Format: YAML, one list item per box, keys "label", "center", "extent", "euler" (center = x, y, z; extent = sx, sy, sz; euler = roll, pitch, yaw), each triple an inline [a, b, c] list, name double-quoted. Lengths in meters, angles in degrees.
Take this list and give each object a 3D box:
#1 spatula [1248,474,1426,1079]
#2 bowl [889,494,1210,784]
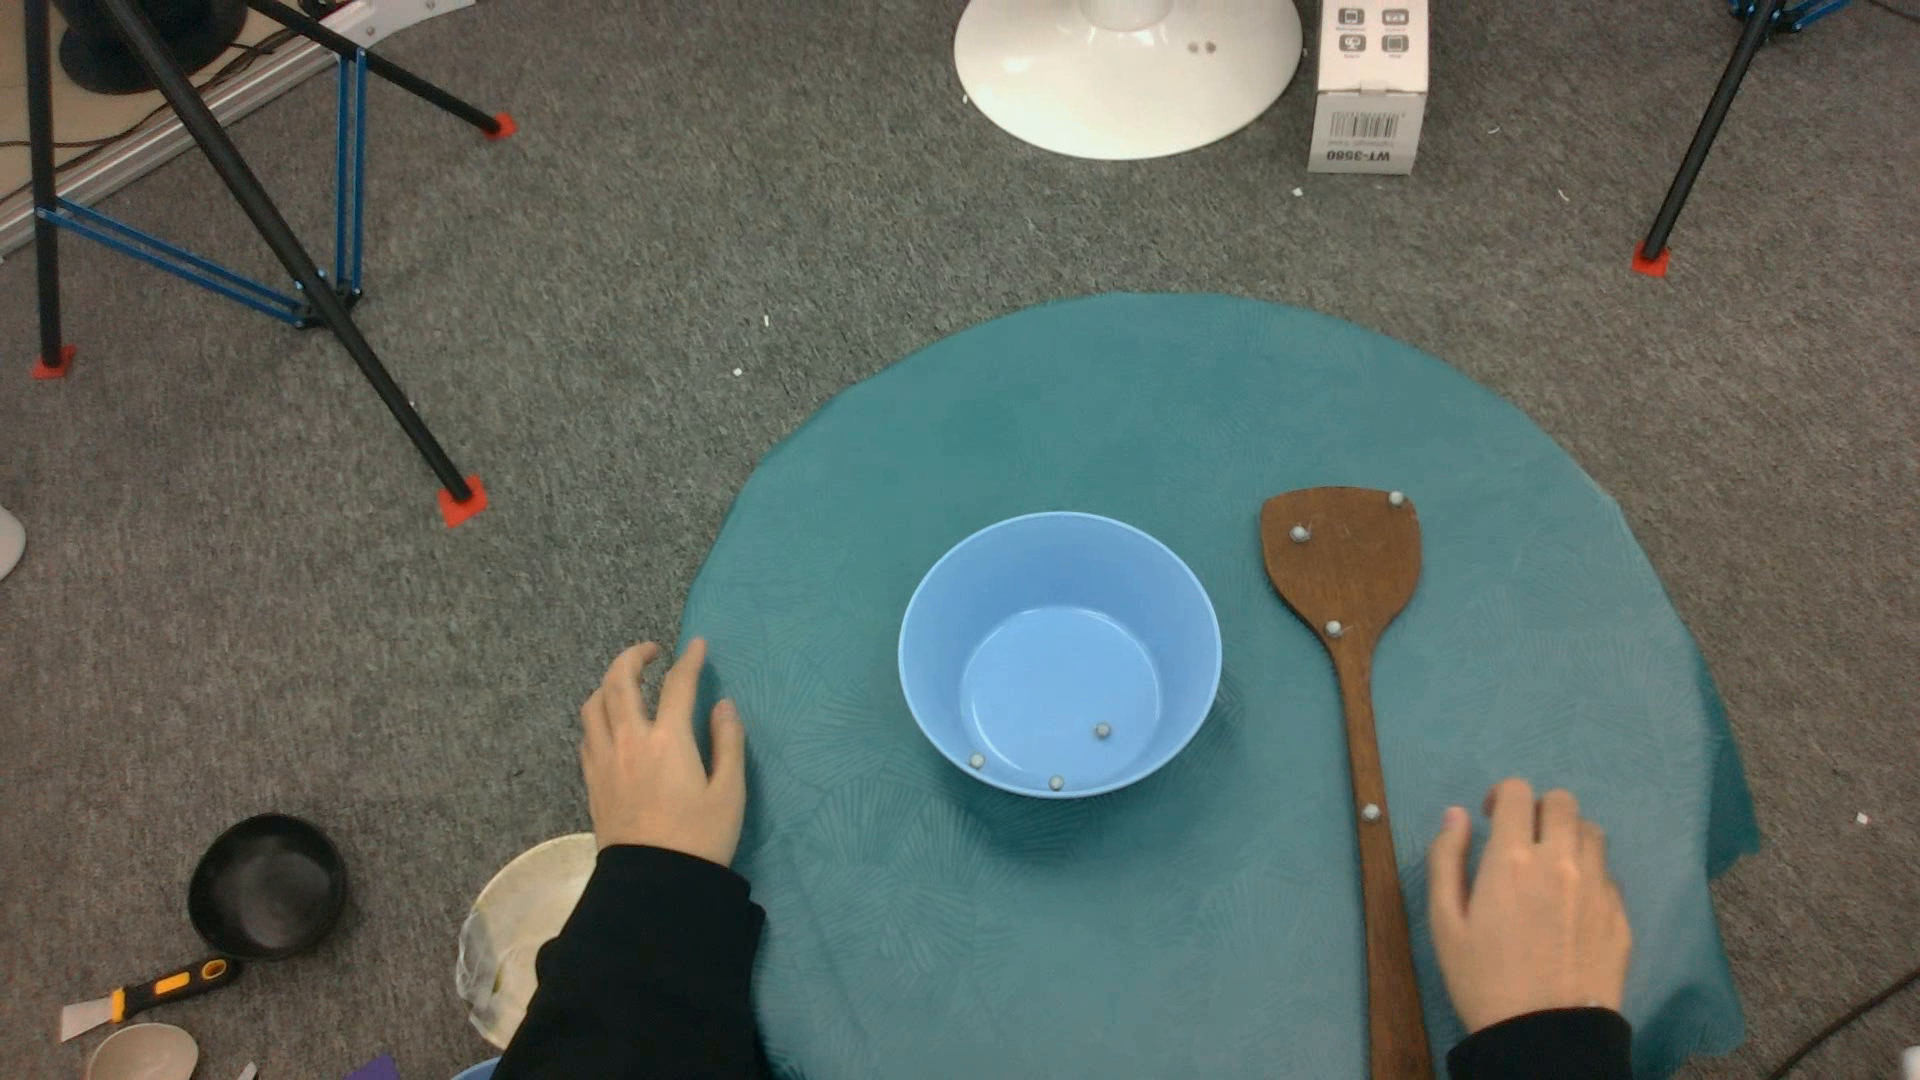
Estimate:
- label: "spatula"
  center: [0.218, 0.124, 0.758]
  extent: [0.096, 0.016, 0.387]
  euler: [0, 57, 5]
- label: "bowl"
  center: [0.051, 0.065, 0.777]
  extent: [0.176, 0.070, 0.177]
  euler: [-2, 59, 4]
